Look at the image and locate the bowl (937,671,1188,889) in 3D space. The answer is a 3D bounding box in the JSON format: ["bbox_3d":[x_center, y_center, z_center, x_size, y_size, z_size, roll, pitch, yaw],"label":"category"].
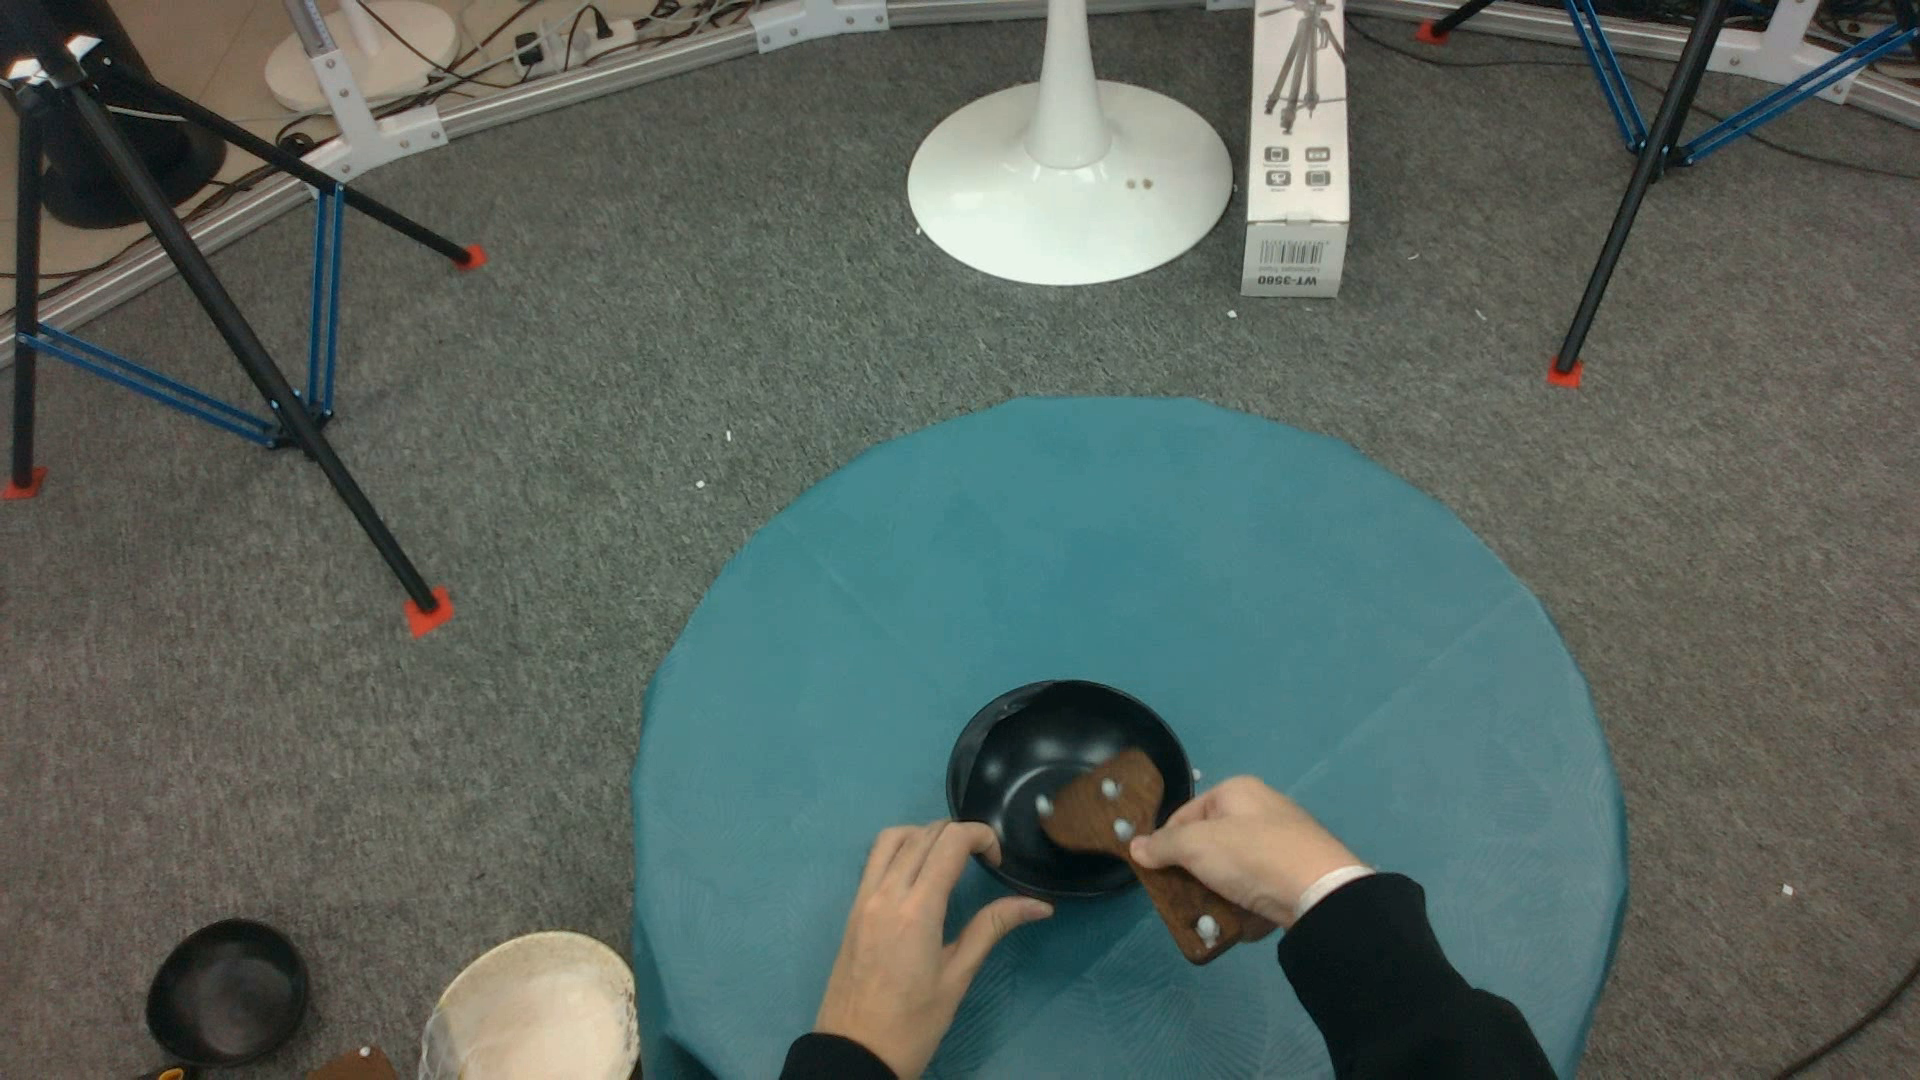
[{"bbox_3d":[0.057,0.142,0.779,0.140,0.049,0.140,-2,45,2],"label":"bowl"}]

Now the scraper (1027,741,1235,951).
[{"bbox_3d":[0.089,0.153,0.691,0.076,0.011,0.211,-33,14,-4],"label":"scraper"}]
